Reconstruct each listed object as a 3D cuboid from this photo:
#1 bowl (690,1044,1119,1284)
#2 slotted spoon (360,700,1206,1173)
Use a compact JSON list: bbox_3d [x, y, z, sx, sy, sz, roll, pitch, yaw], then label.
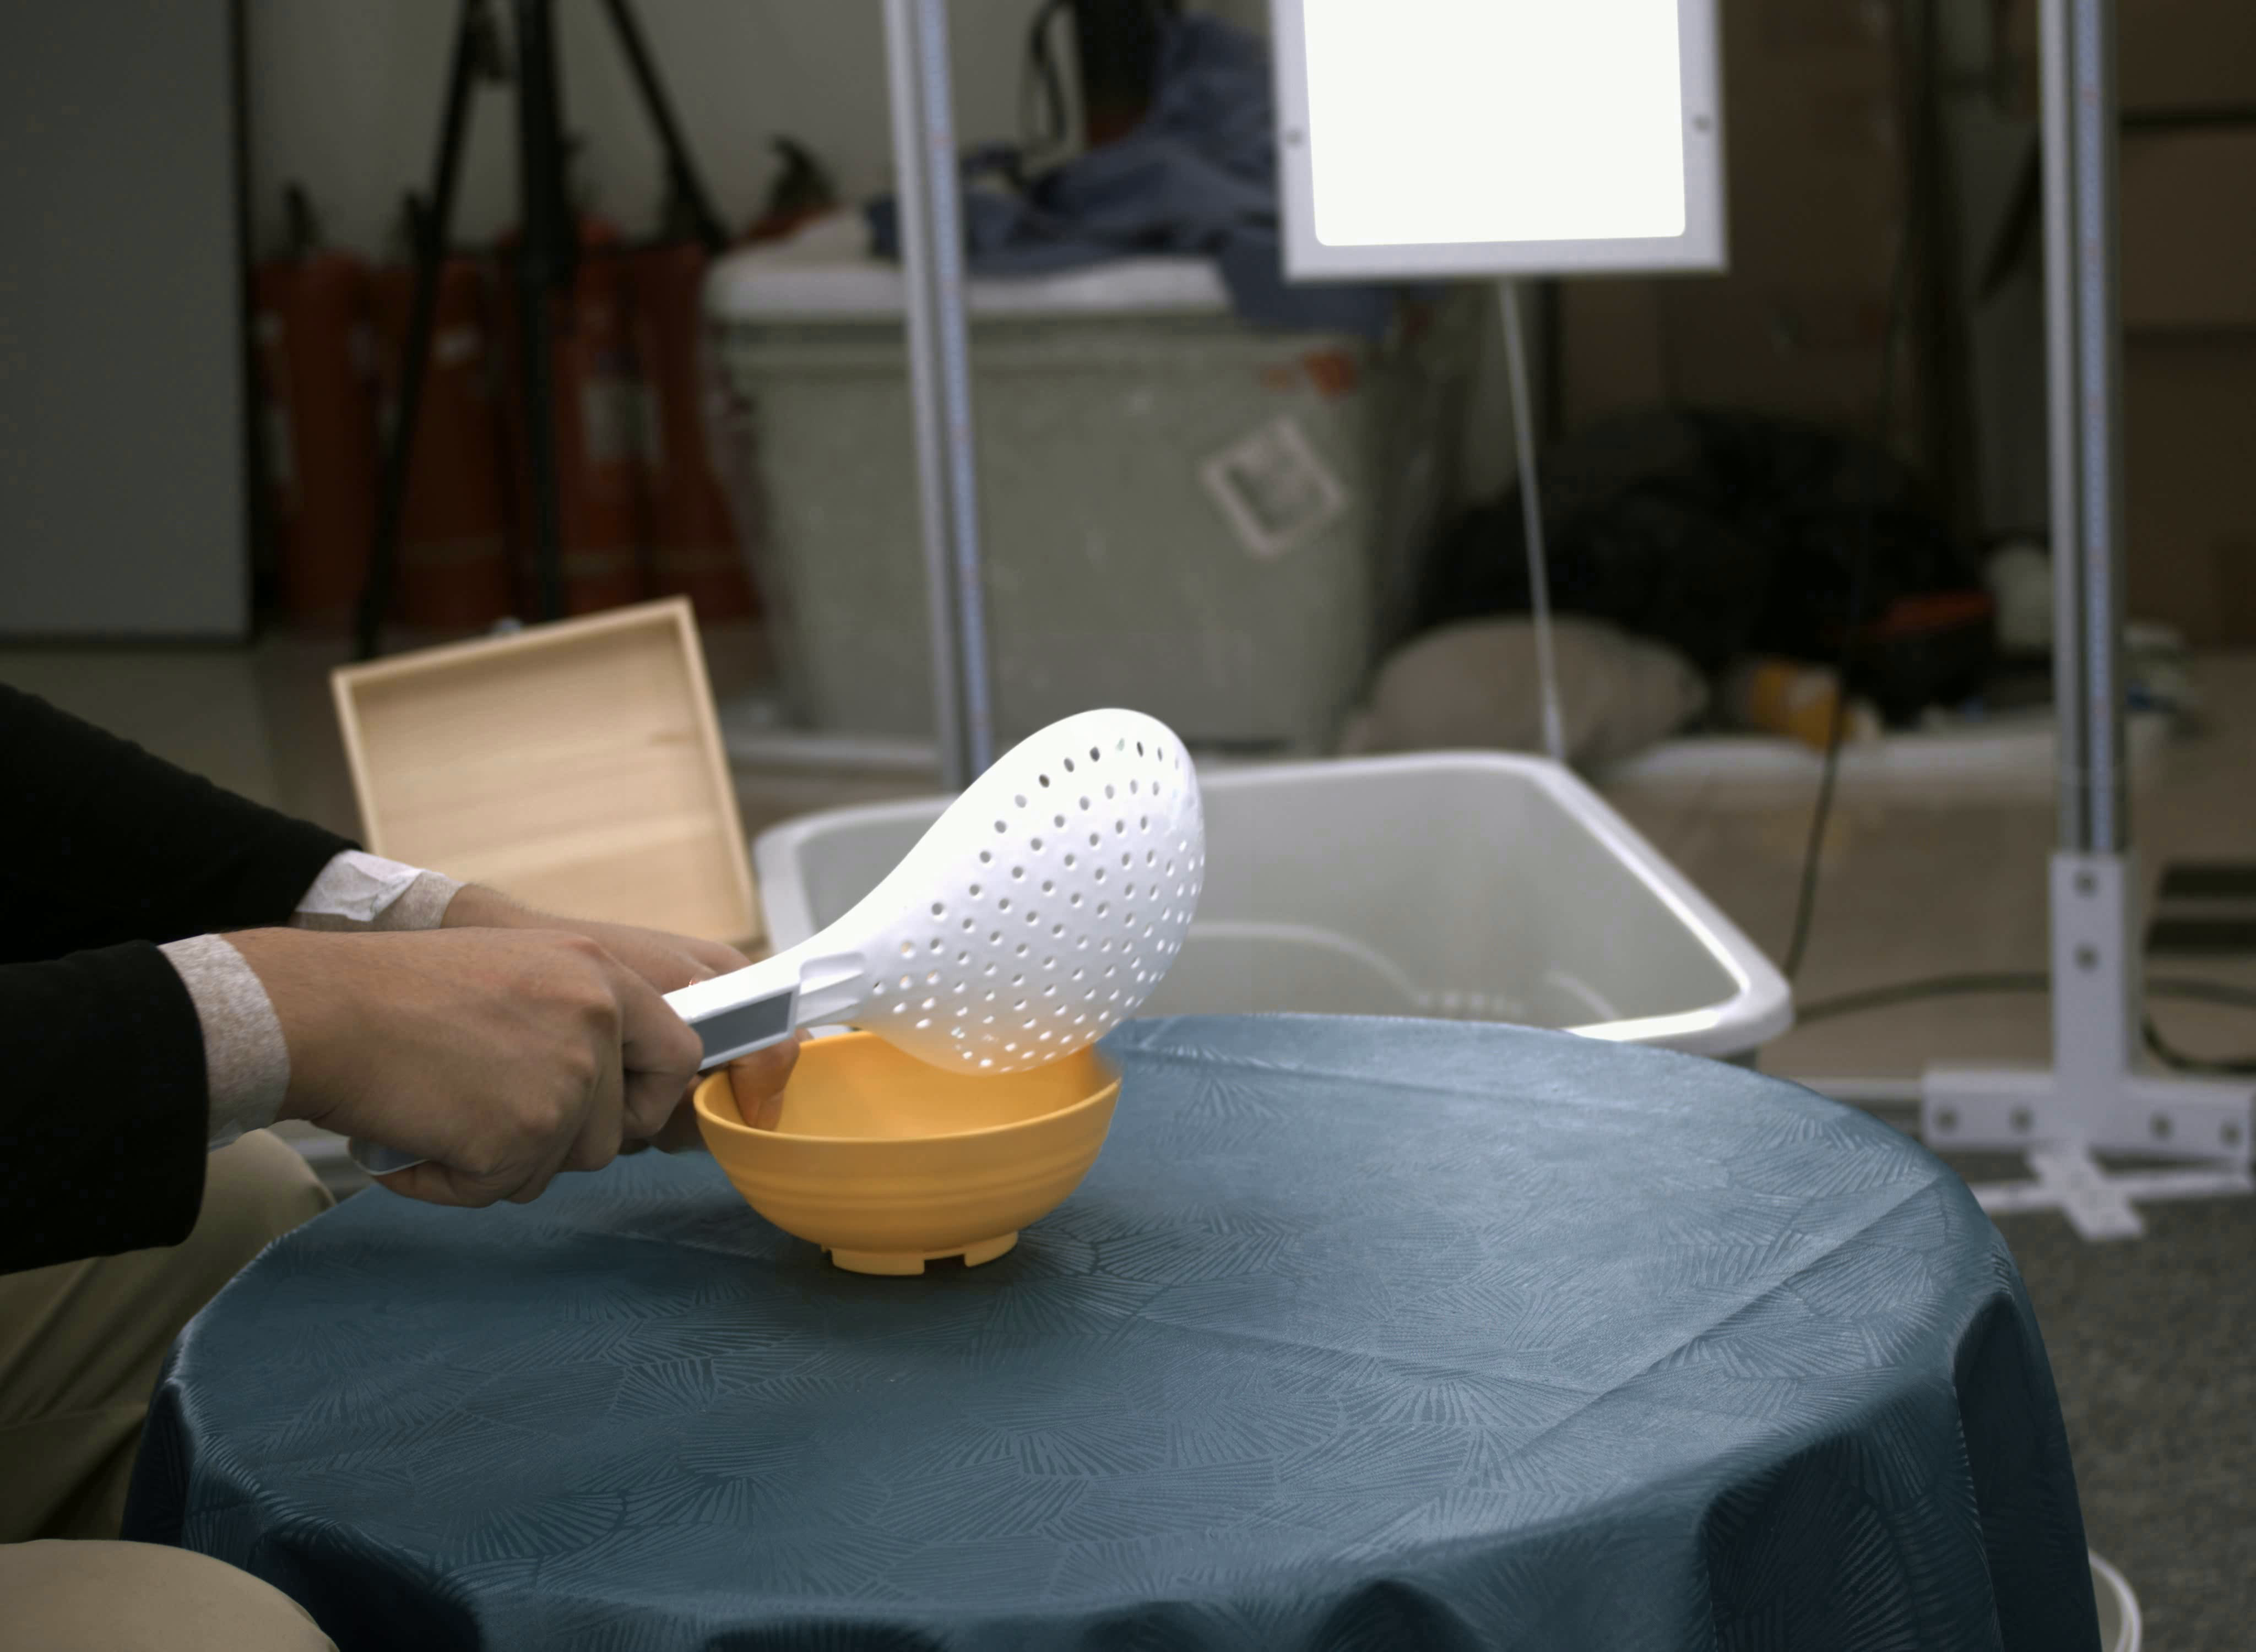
[{"bbox_3d":[-0.073,0.117,1.852,0.145,0.060,0.145,-4,10,-1],"label":"bowl"},{"bbox_3d":[-0.100,0.049,1.770,0.341,0.137,0.046,-15,35,-34],"label":"slotted spoon"}]
